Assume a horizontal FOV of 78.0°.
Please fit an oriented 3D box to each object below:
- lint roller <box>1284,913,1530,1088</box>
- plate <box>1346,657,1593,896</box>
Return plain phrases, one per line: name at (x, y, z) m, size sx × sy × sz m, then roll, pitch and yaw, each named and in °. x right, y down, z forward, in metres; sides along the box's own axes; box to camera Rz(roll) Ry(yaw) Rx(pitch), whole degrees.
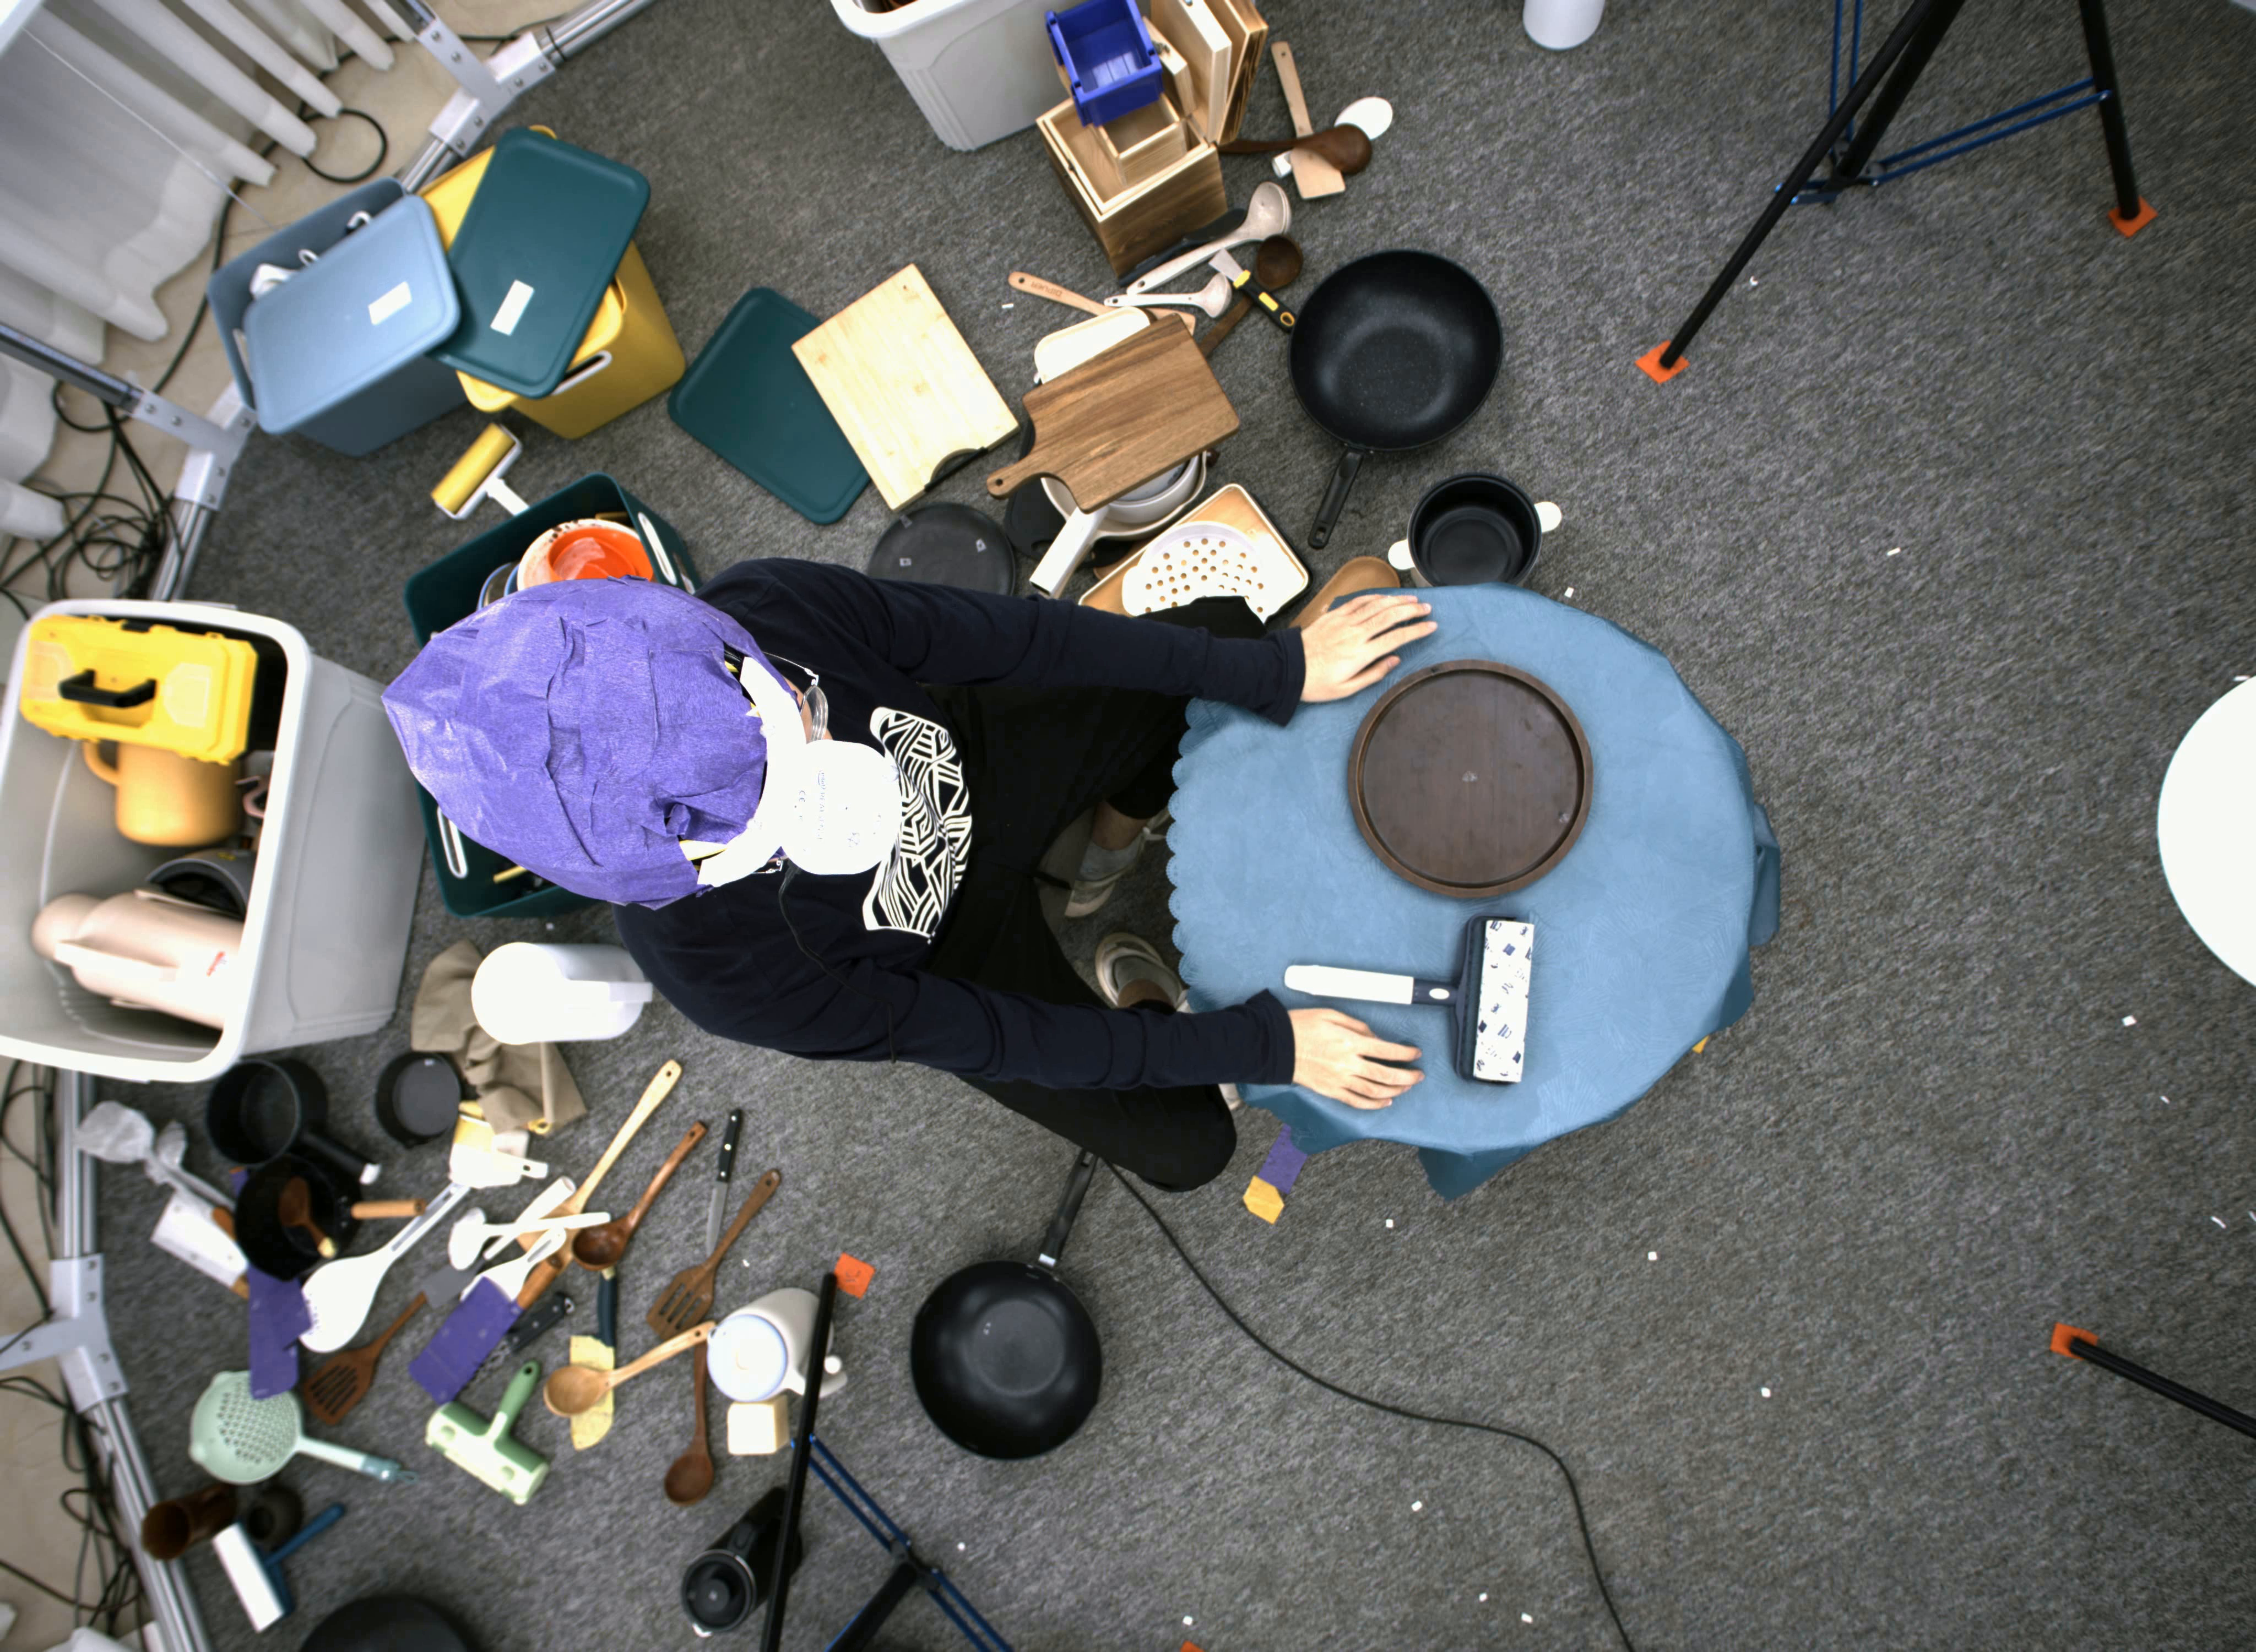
lint roller at (0.284, 0.169, 1.431) m, size 0.248 × 0.050 × 0.176 m, roll 4°, pitch 89°, yaw 13°
plate at (0.356, -0.054, 1.440) m, size 0.256 × 0.029 × 0.253 m, roll -1°, pitch 86°, yaw 12°
